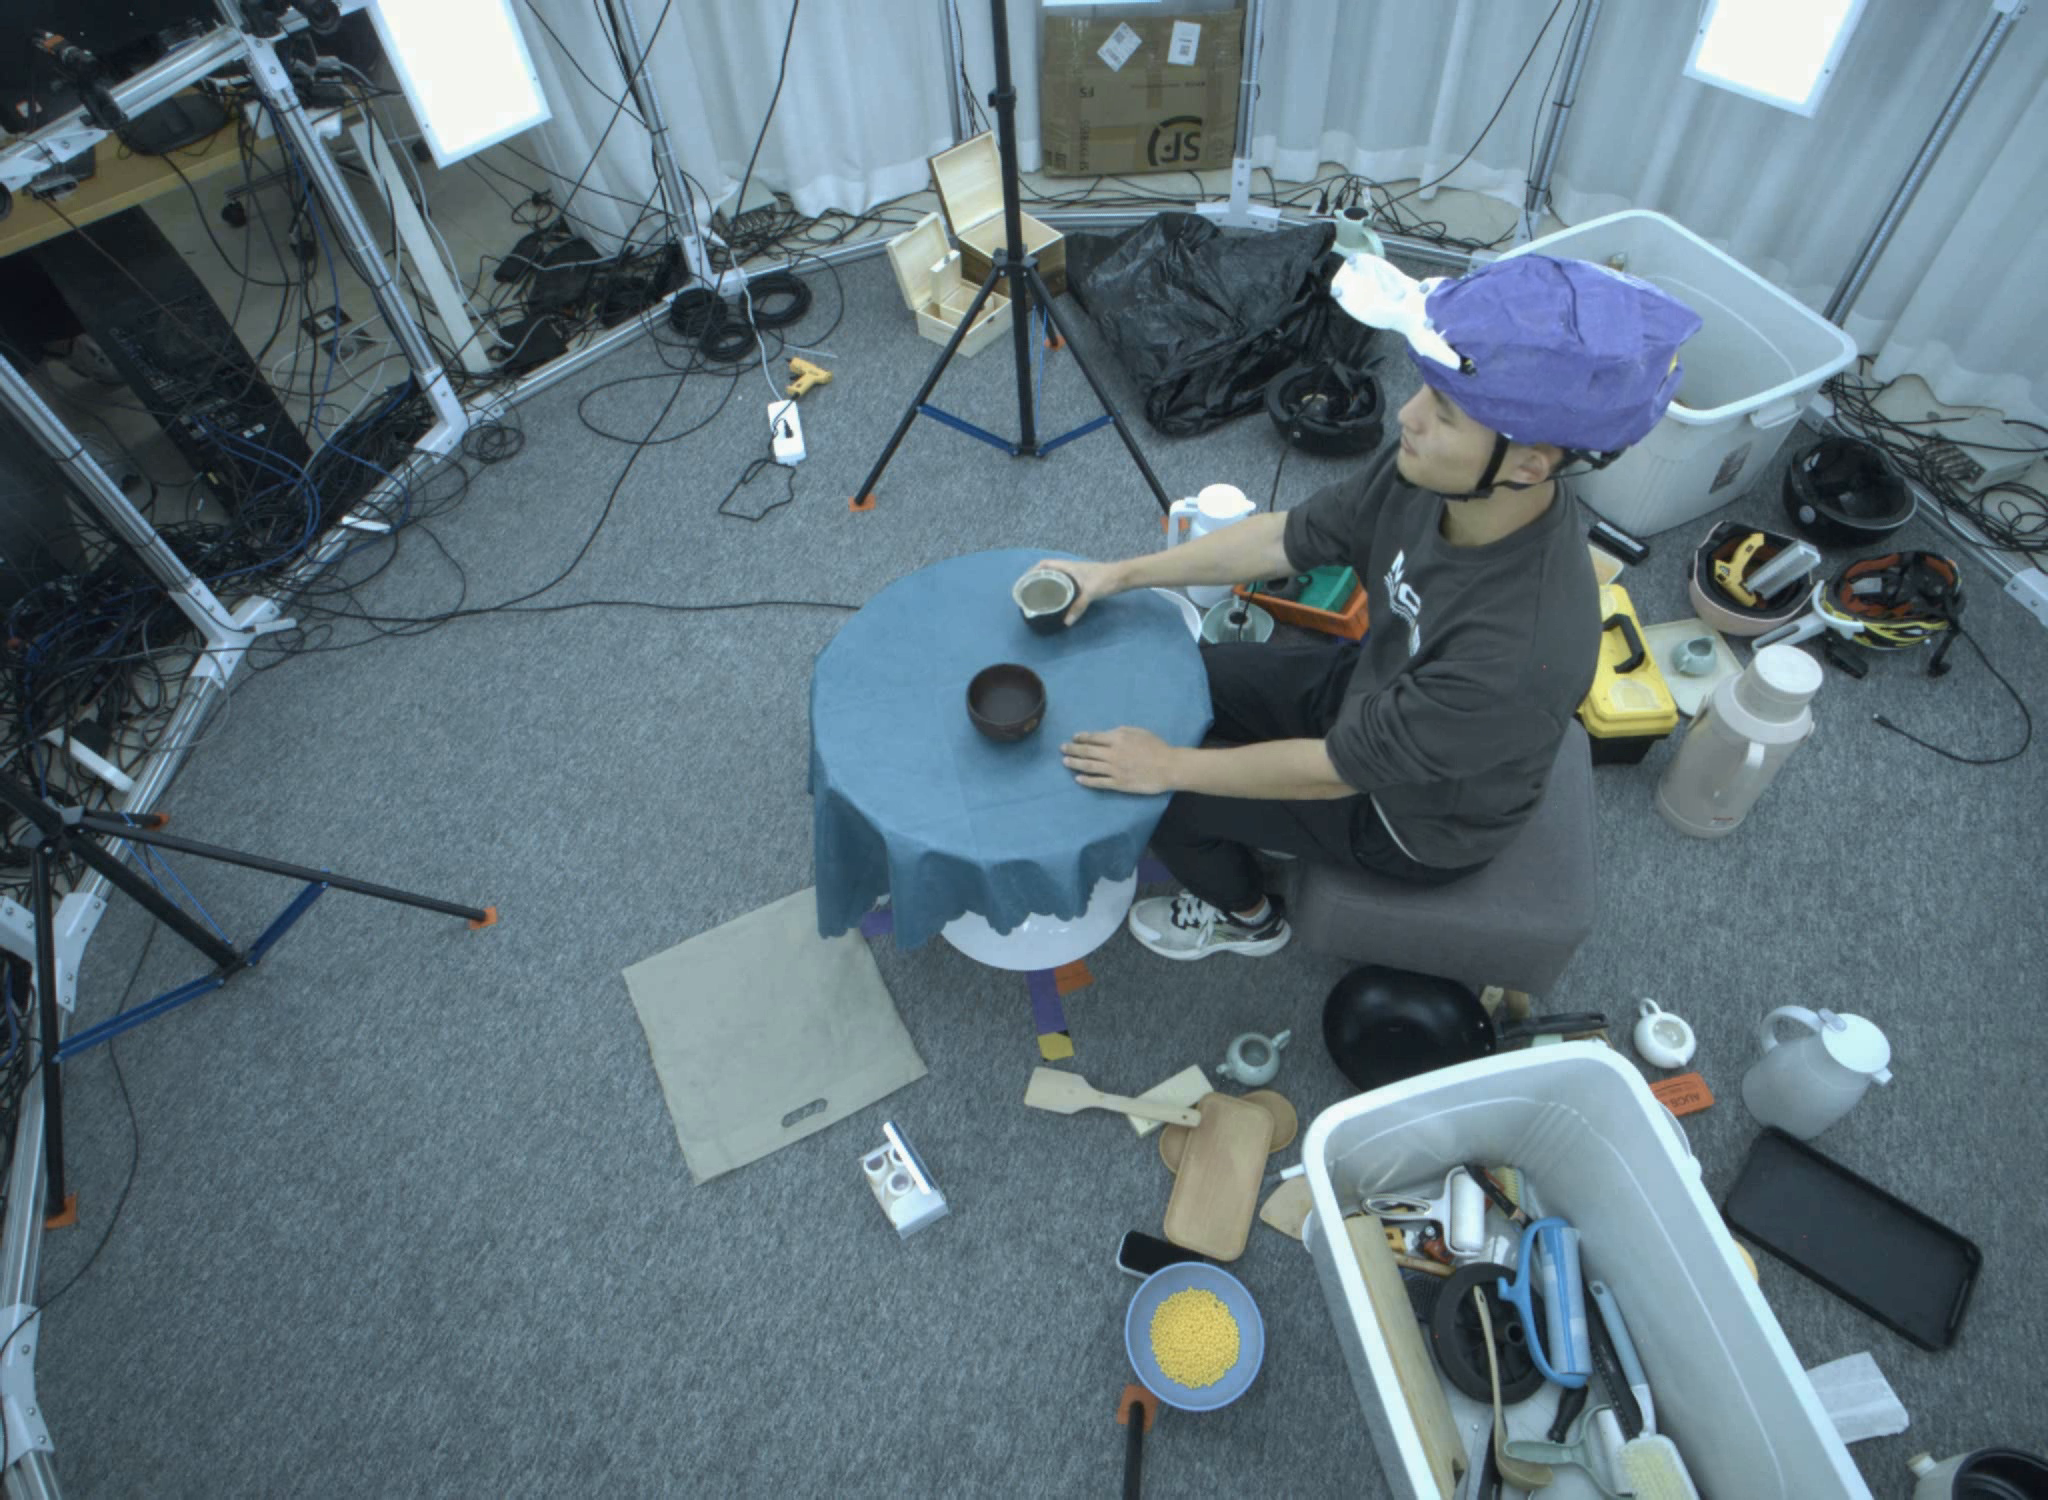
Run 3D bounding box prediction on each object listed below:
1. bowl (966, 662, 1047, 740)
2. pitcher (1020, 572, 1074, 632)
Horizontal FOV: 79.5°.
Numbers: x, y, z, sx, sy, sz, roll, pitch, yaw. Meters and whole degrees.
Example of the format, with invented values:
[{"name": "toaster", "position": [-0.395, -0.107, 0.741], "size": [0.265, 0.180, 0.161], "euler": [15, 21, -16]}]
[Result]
[{"name": "bowl", "position": [-0.024, -0.063, 1.787], "size": [0.118, 0.071, 0.117], "euler": [-2, 53, 3]}, {"name": "pitcher", "position": [0.033, -0.220, 1.894], "size": [0.082, 0.072, 0.096], "euler": [26, 60, 20]}]
